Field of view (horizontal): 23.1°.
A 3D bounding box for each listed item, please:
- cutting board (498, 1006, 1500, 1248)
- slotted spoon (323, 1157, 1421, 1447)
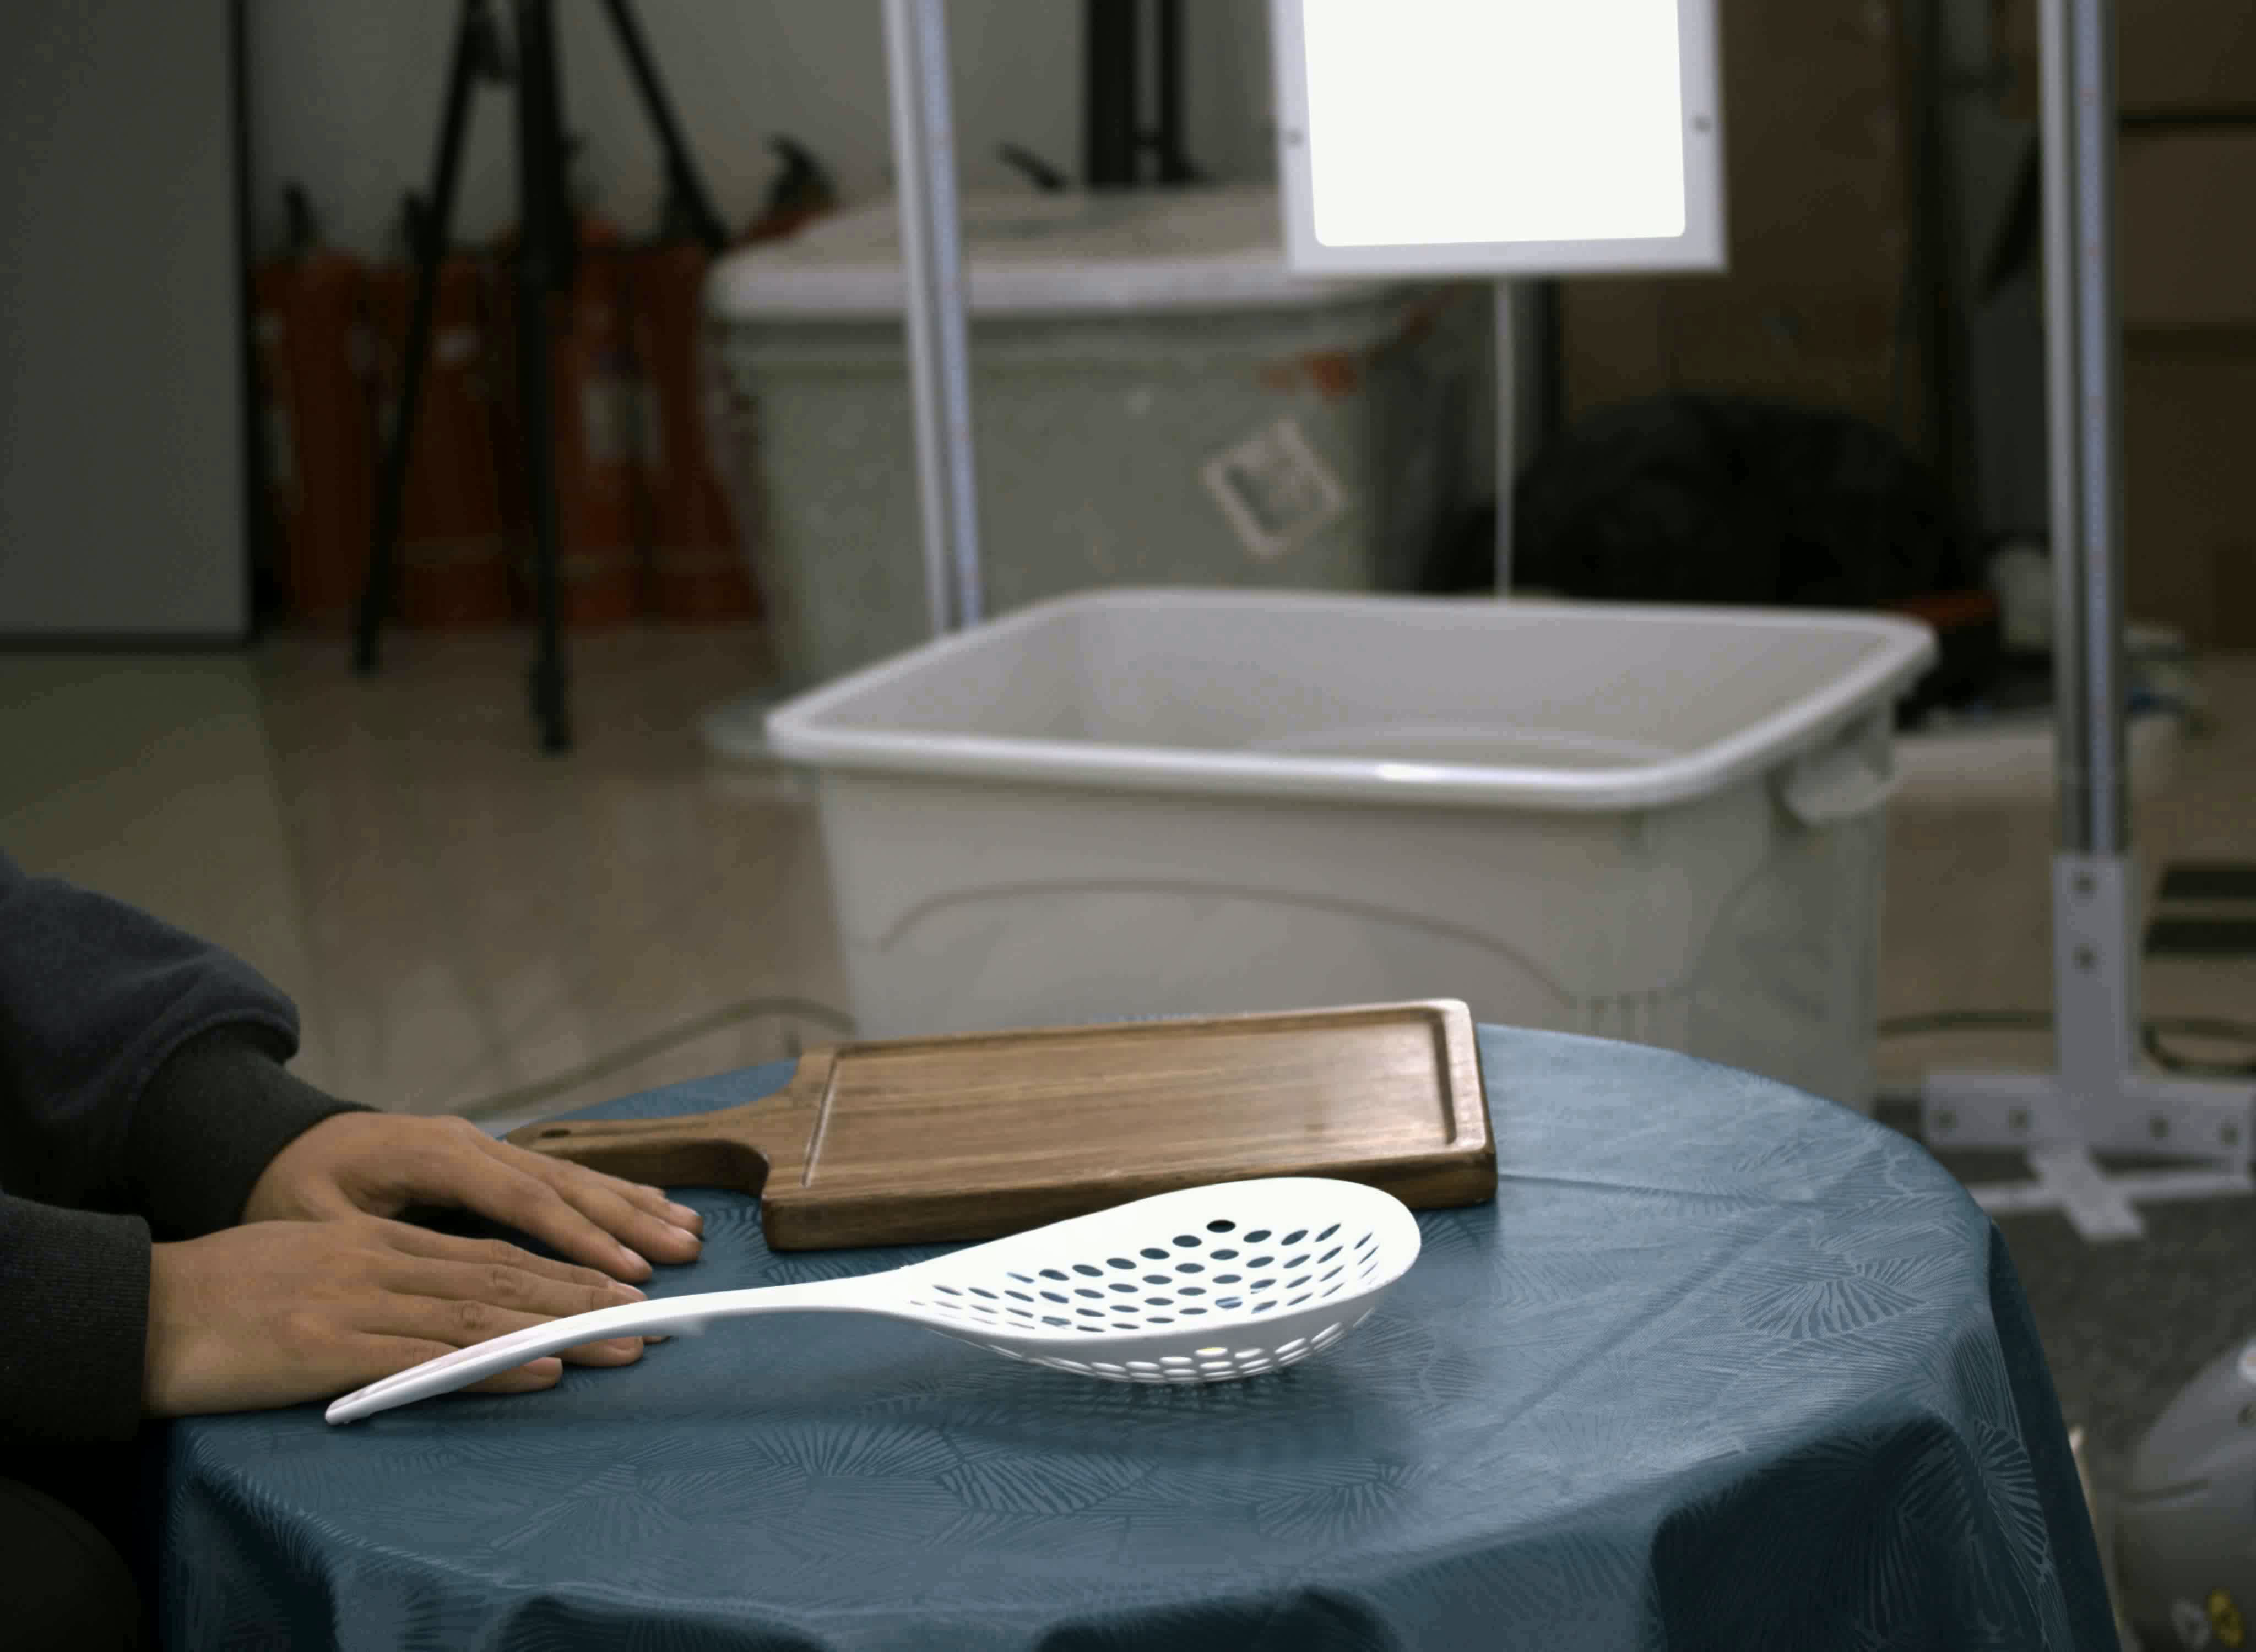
[{"bbox_3d":[-0.048,0.107,1.950,0.352,0.023,0.200,-4,13,4],"label":"cutting board"},{"bbox_3d":[-0.081,0.156,1.720,0.348,0.050,0.136,-4,16,4],"label":"slotted spoon"}]
